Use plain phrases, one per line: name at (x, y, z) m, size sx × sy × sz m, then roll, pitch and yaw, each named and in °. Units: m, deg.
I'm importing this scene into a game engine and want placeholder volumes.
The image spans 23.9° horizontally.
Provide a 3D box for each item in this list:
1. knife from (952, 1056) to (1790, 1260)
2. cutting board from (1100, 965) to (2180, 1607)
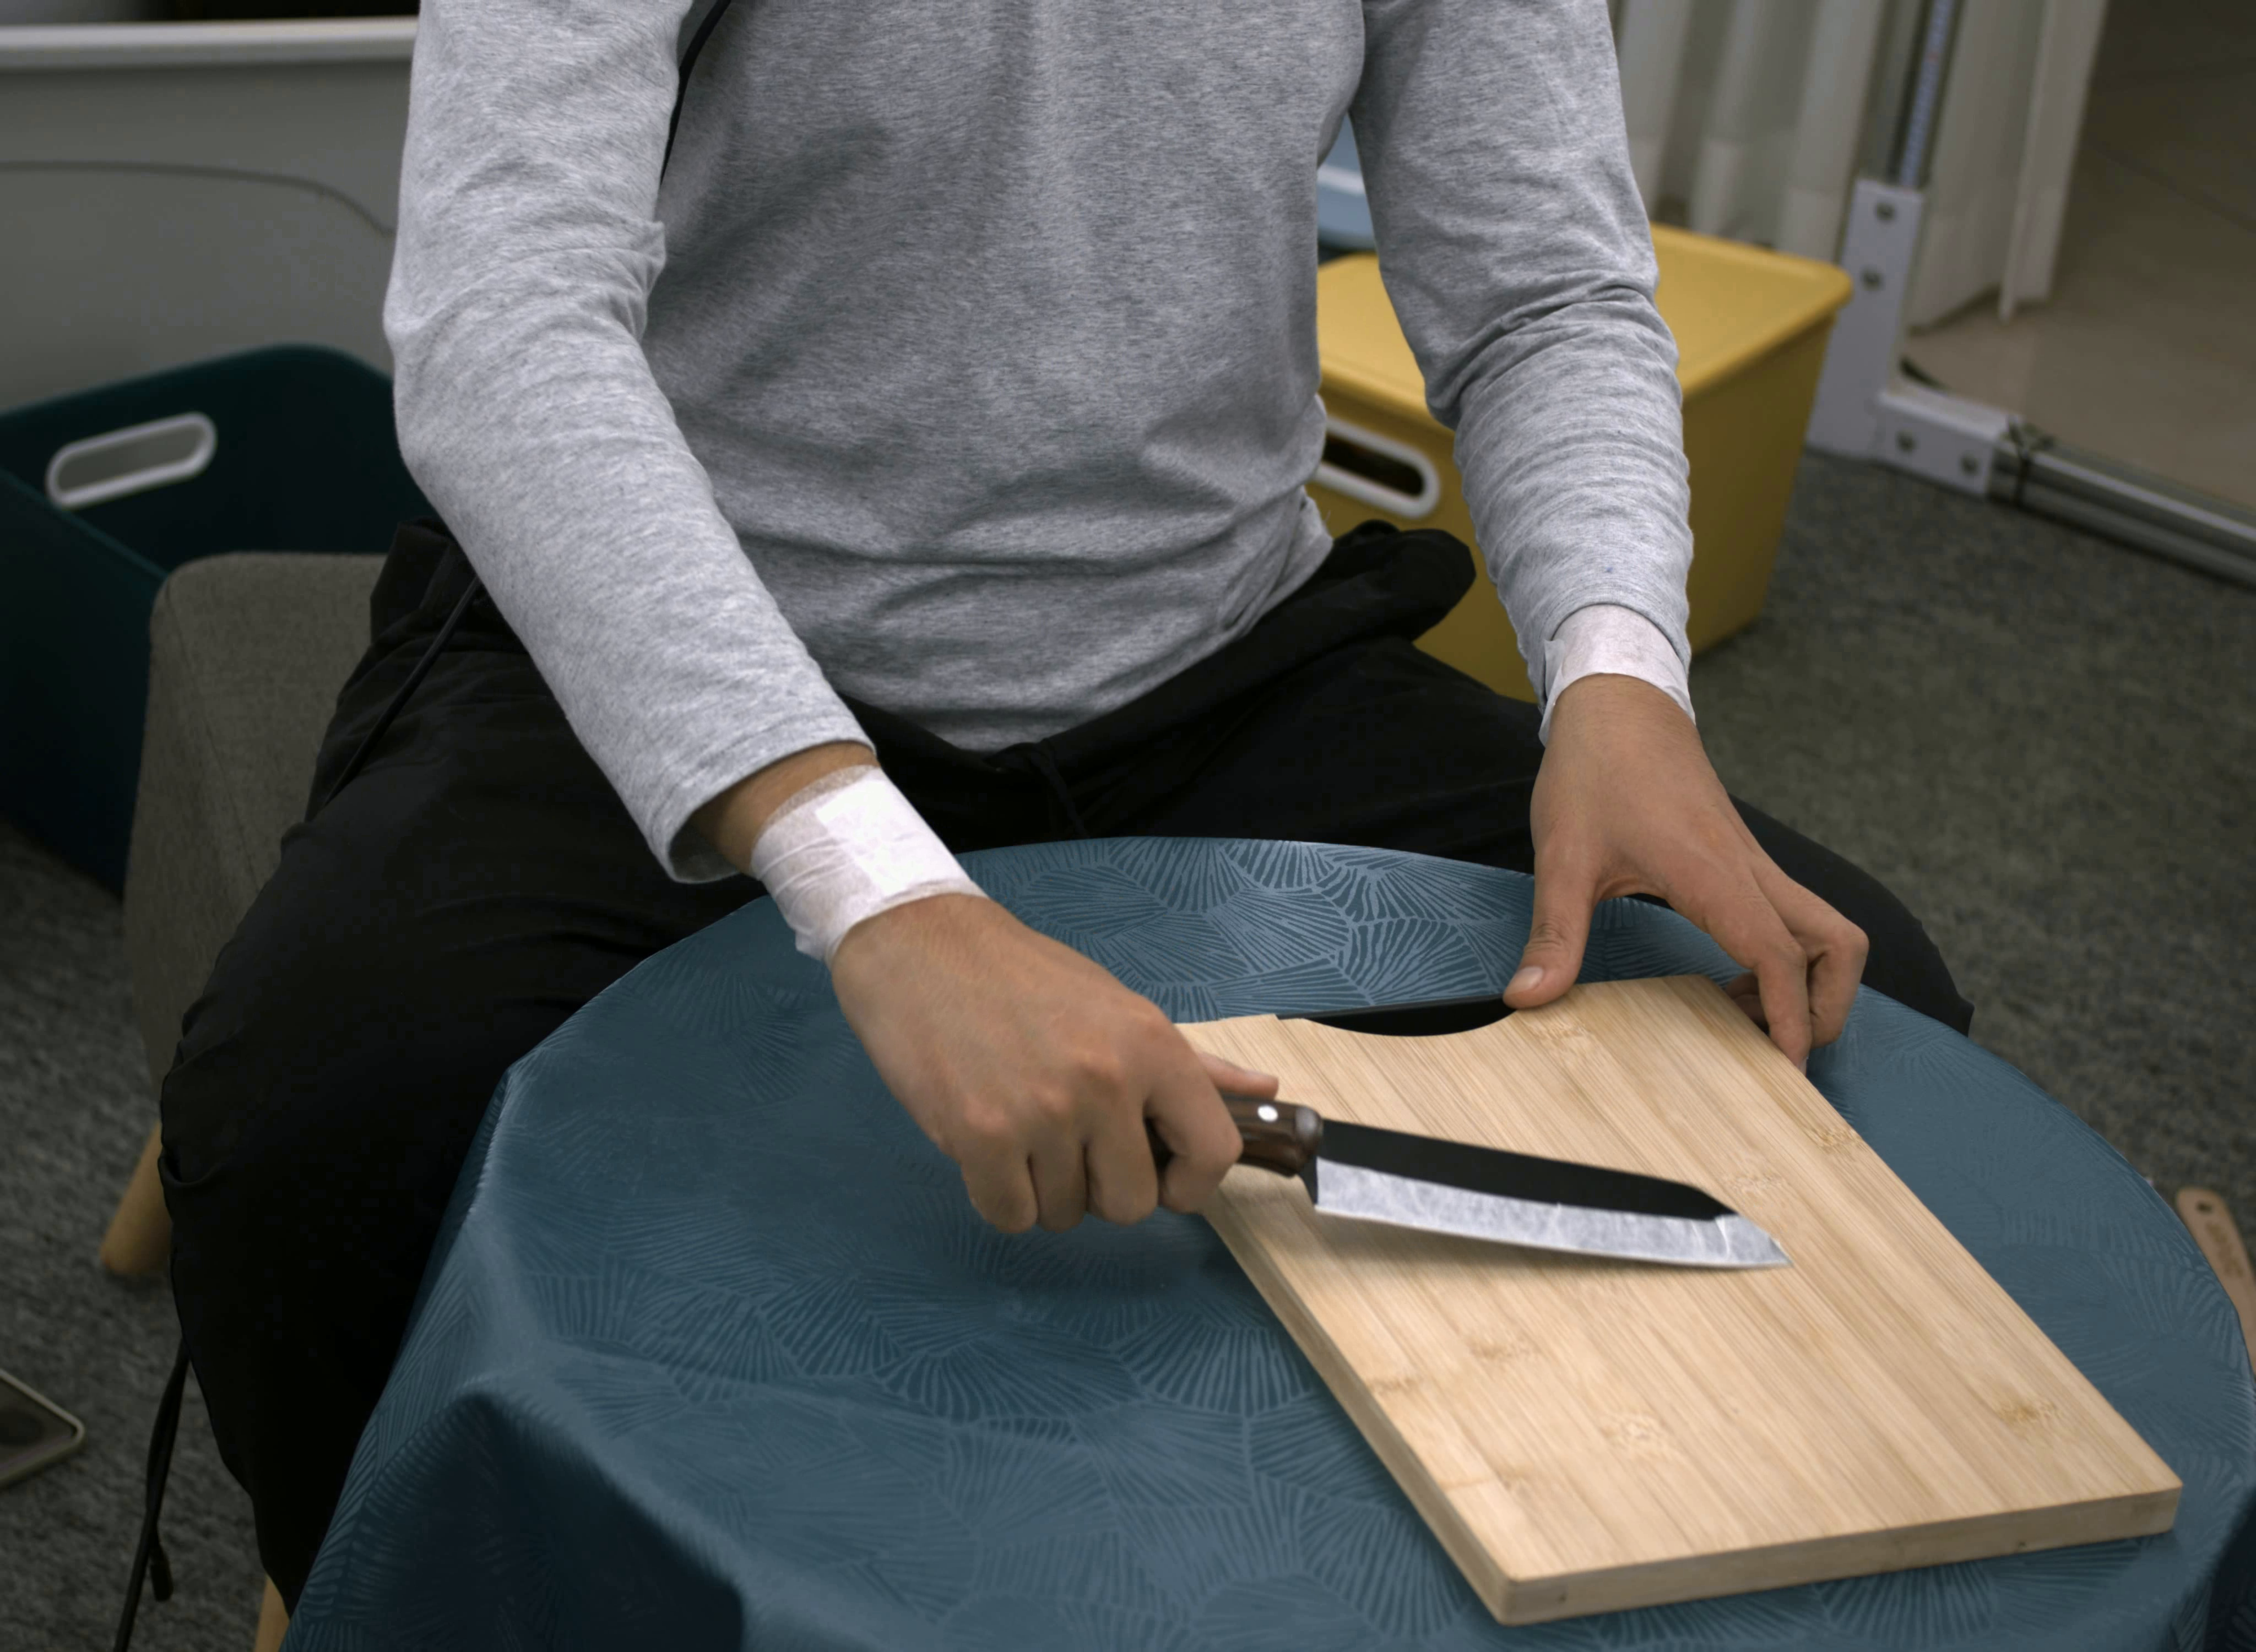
knife at (0.082, 0.112, 1.760) m, size 0.288 × 0.020 × 0.050 m, roll 11°, pitch 42°, yaw -8°
cutting board at (0.161, 0.146, 1.781) m, size 0.249 × 0.023 × 0.352 m, roll -4°, pitch 29°, yaw -22°
